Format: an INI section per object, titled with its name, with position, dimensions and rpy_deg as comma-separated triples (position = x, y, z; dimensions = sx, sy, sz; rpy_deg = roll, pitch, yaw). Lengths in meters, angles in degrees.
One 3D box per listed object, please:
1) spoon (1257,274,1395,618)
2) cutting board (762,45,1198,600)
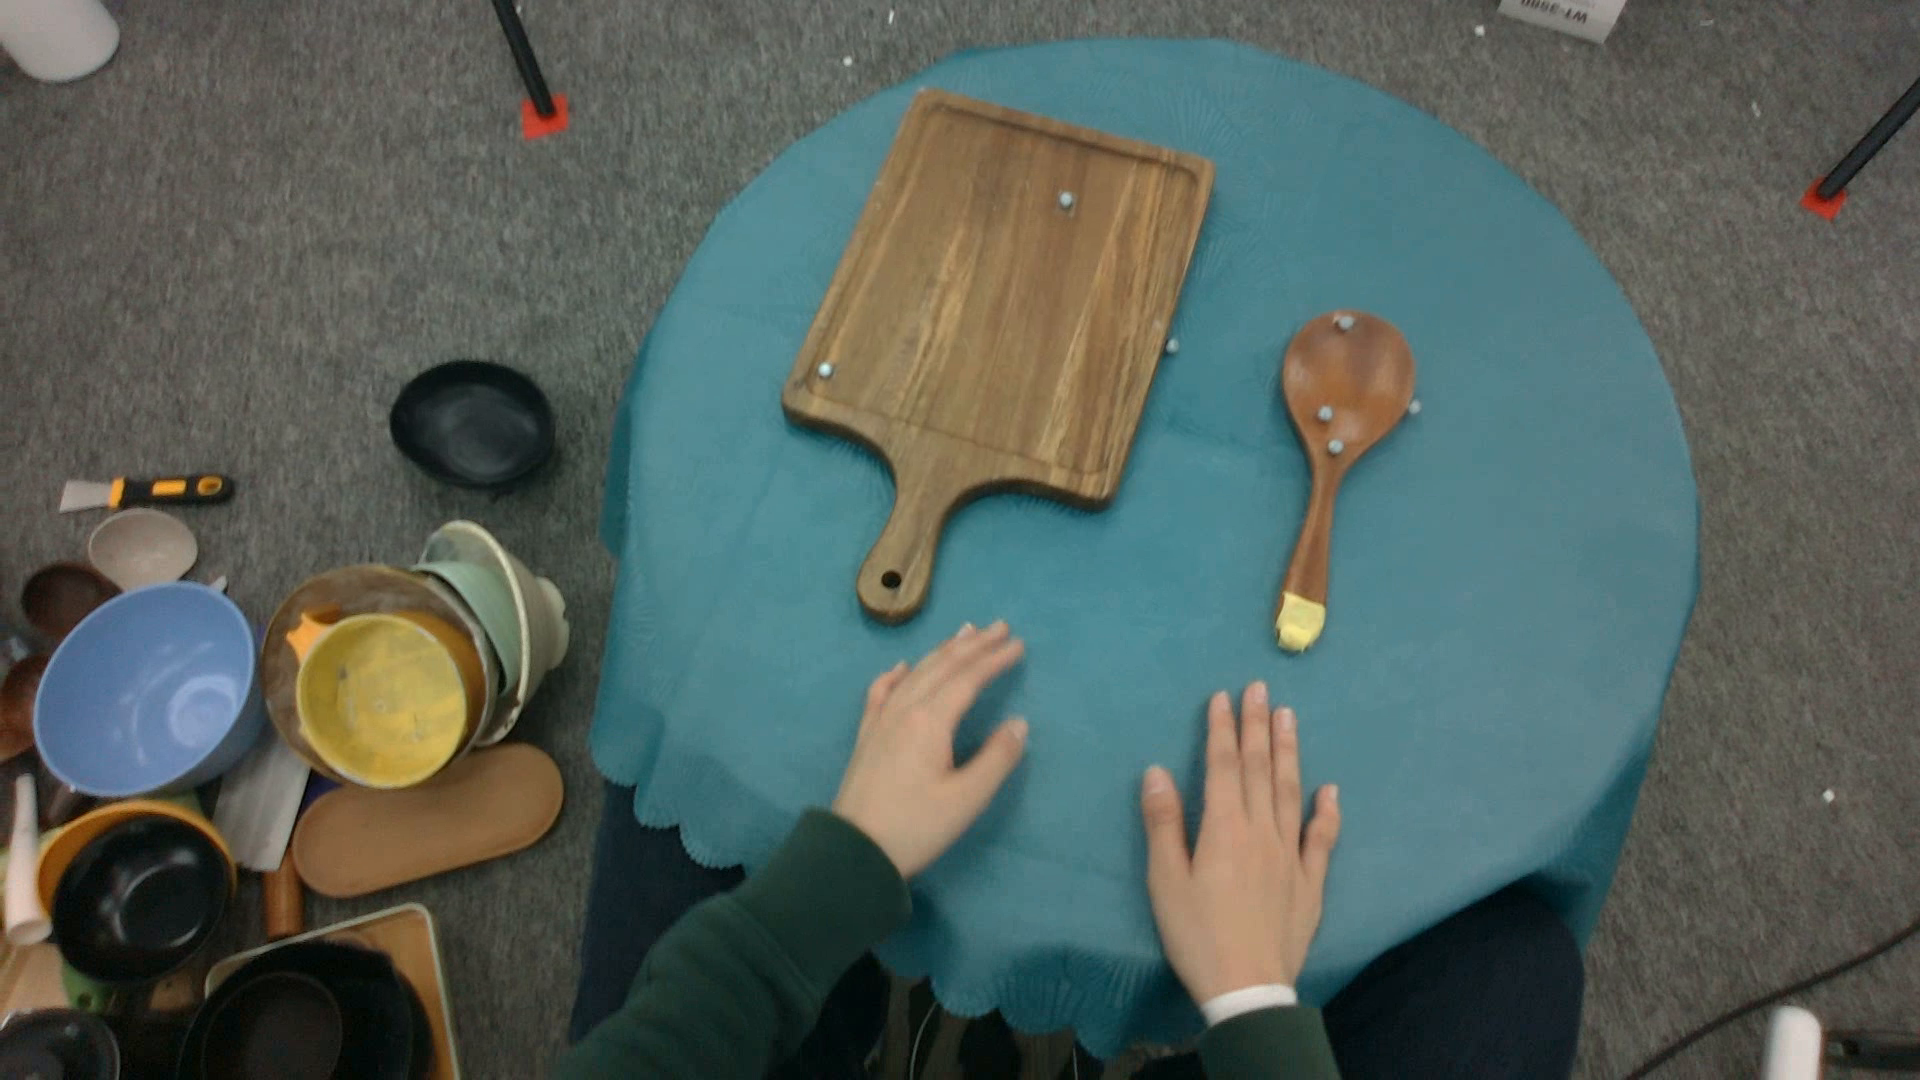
[spoon]
position = 0.193, -0.056, 0.760
dimensions = 0.075, 0.017, 0.216
rpy_deg = 15, 66, 3
[cutting board]
position = 0.003, -0.127, 0.787
dimensions = 0.201, 0.023, 0.353
rpy_deg = 17, 67, 5
